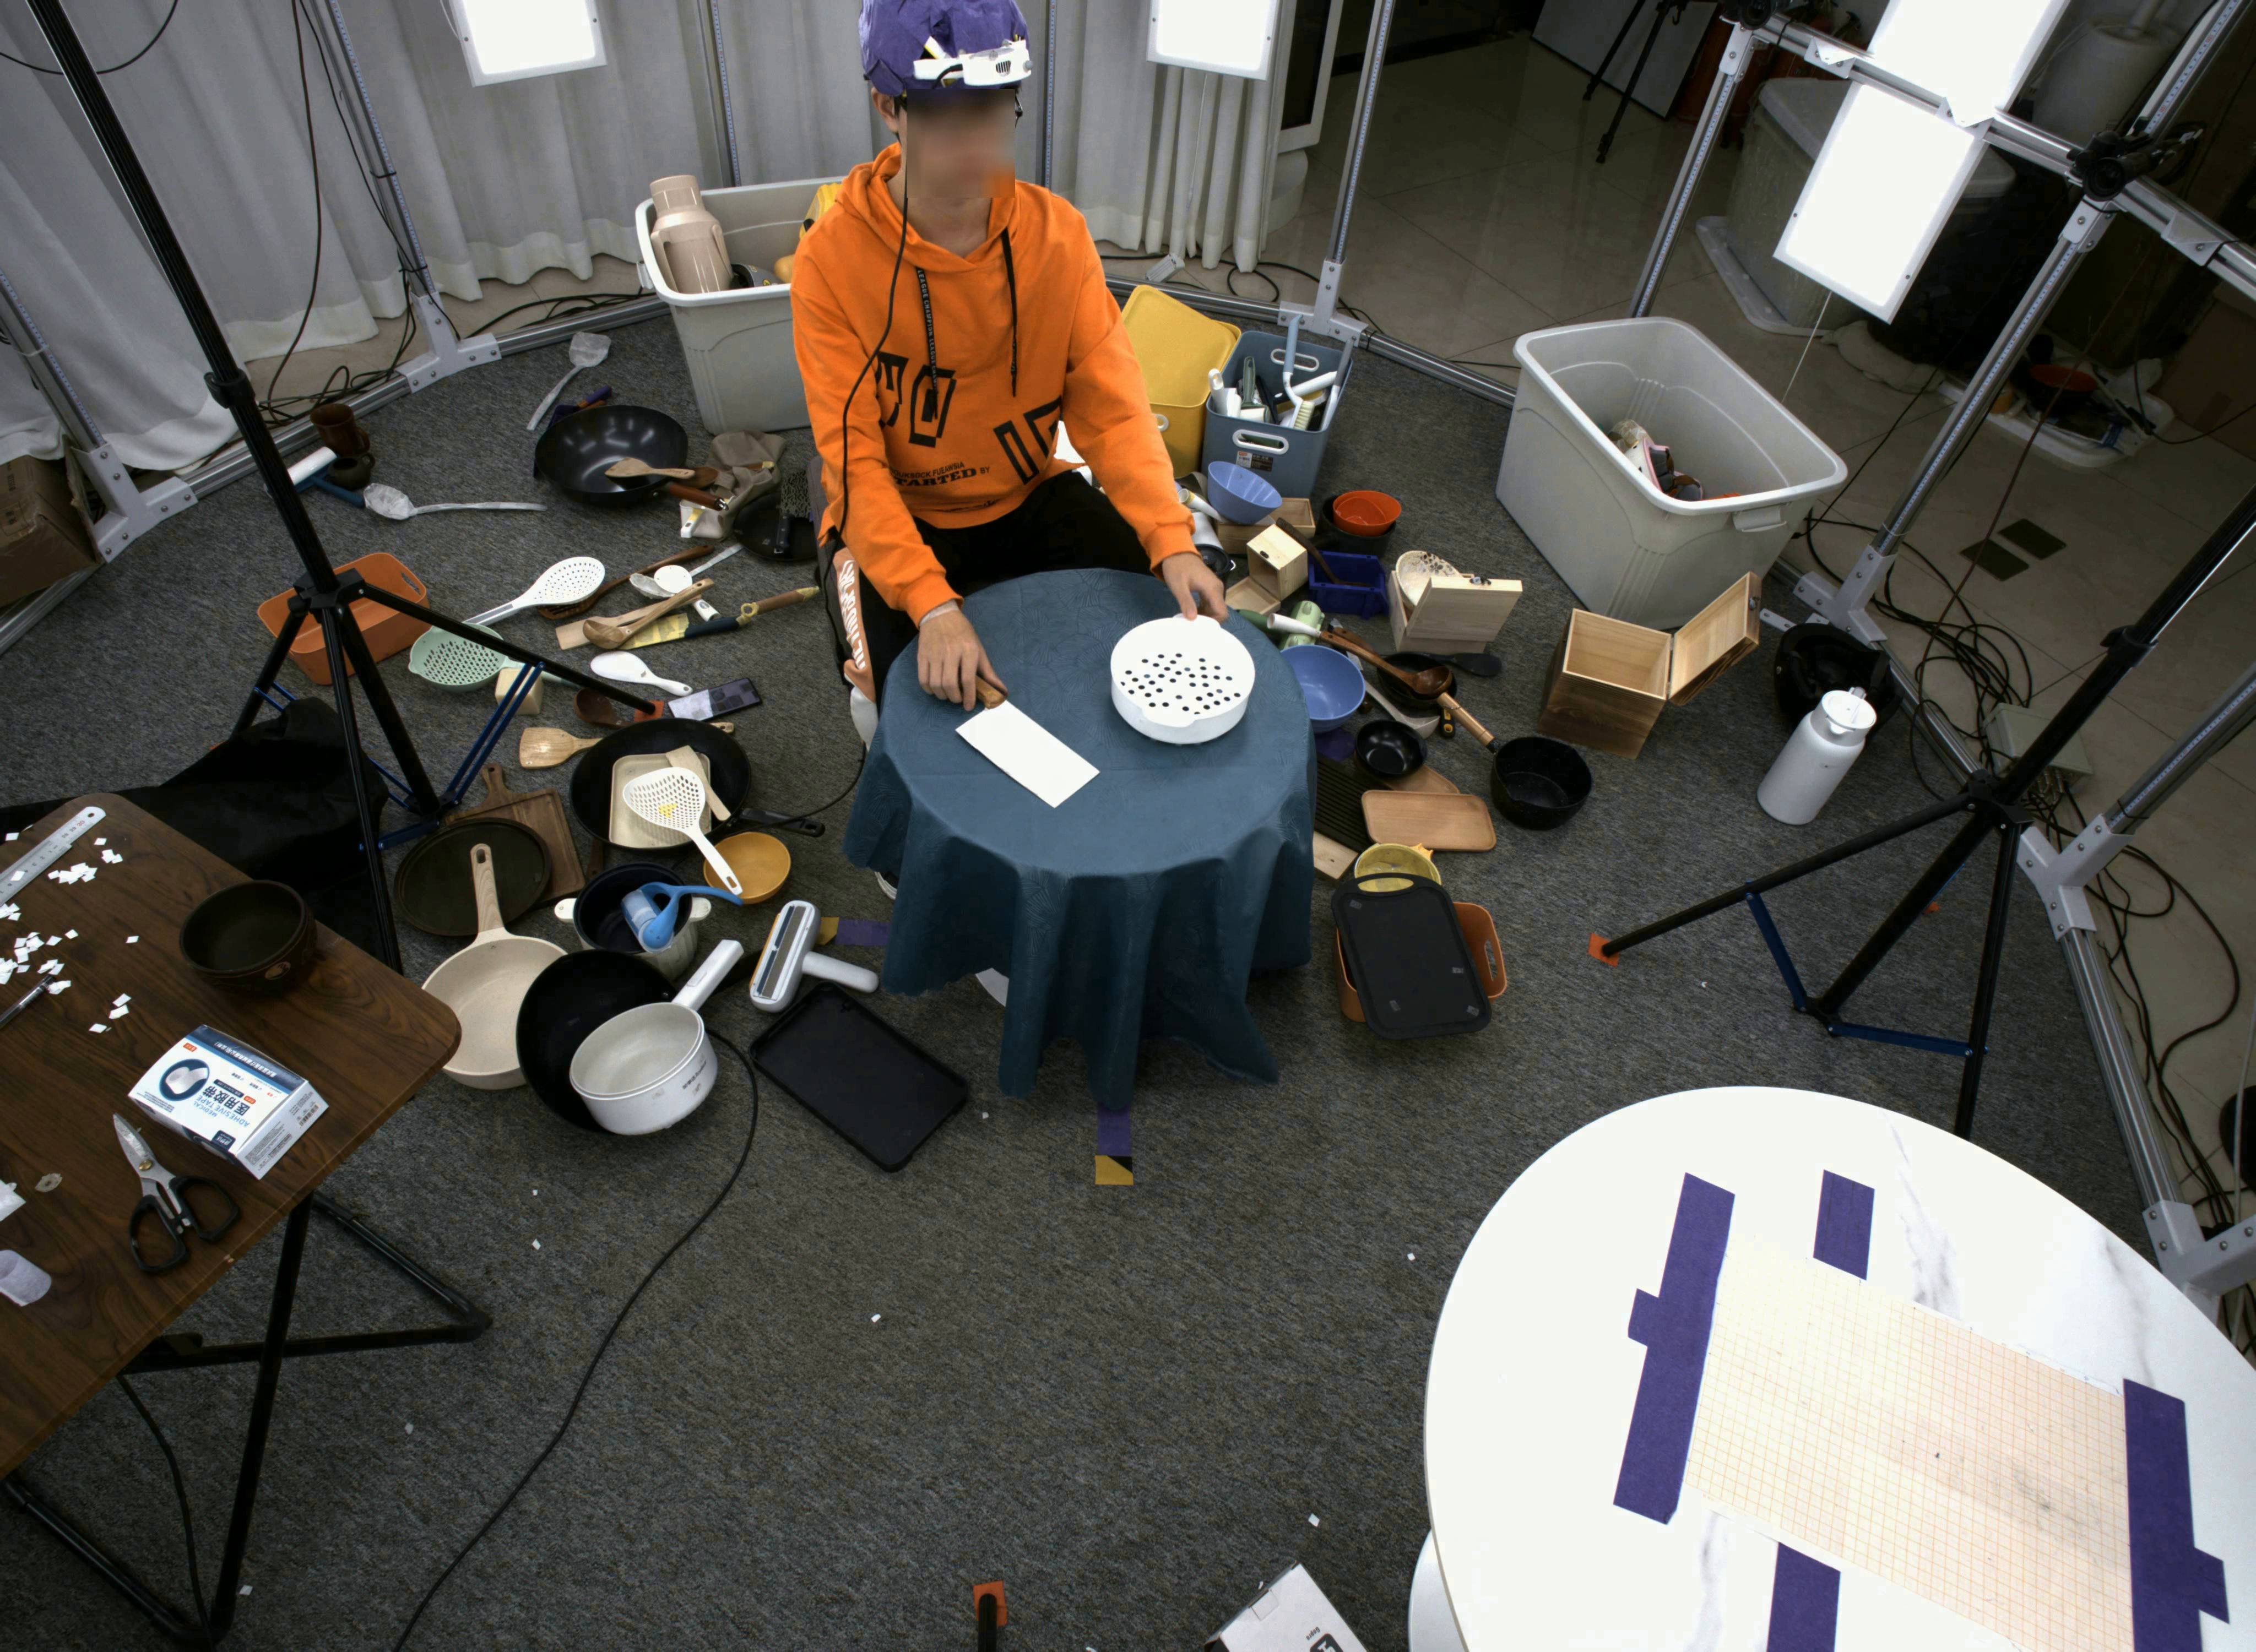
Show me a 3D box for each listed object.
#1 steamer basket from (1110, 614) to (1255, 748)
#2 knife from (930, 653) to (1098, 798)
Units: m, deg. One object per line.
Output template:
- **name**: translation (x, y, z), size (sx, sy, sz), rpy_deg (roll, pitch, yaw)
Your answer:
- **steamer basket**: translation (0.074, -0.199, 1.802), size (0.202, 0.067, 0.236), rpy_deg (12, 51, 7)
- **knife**: translation (-0.178, -0.136, 1.765), size (0.310, 0.020, 0.094), rpy_deg (38, 58, 23)
